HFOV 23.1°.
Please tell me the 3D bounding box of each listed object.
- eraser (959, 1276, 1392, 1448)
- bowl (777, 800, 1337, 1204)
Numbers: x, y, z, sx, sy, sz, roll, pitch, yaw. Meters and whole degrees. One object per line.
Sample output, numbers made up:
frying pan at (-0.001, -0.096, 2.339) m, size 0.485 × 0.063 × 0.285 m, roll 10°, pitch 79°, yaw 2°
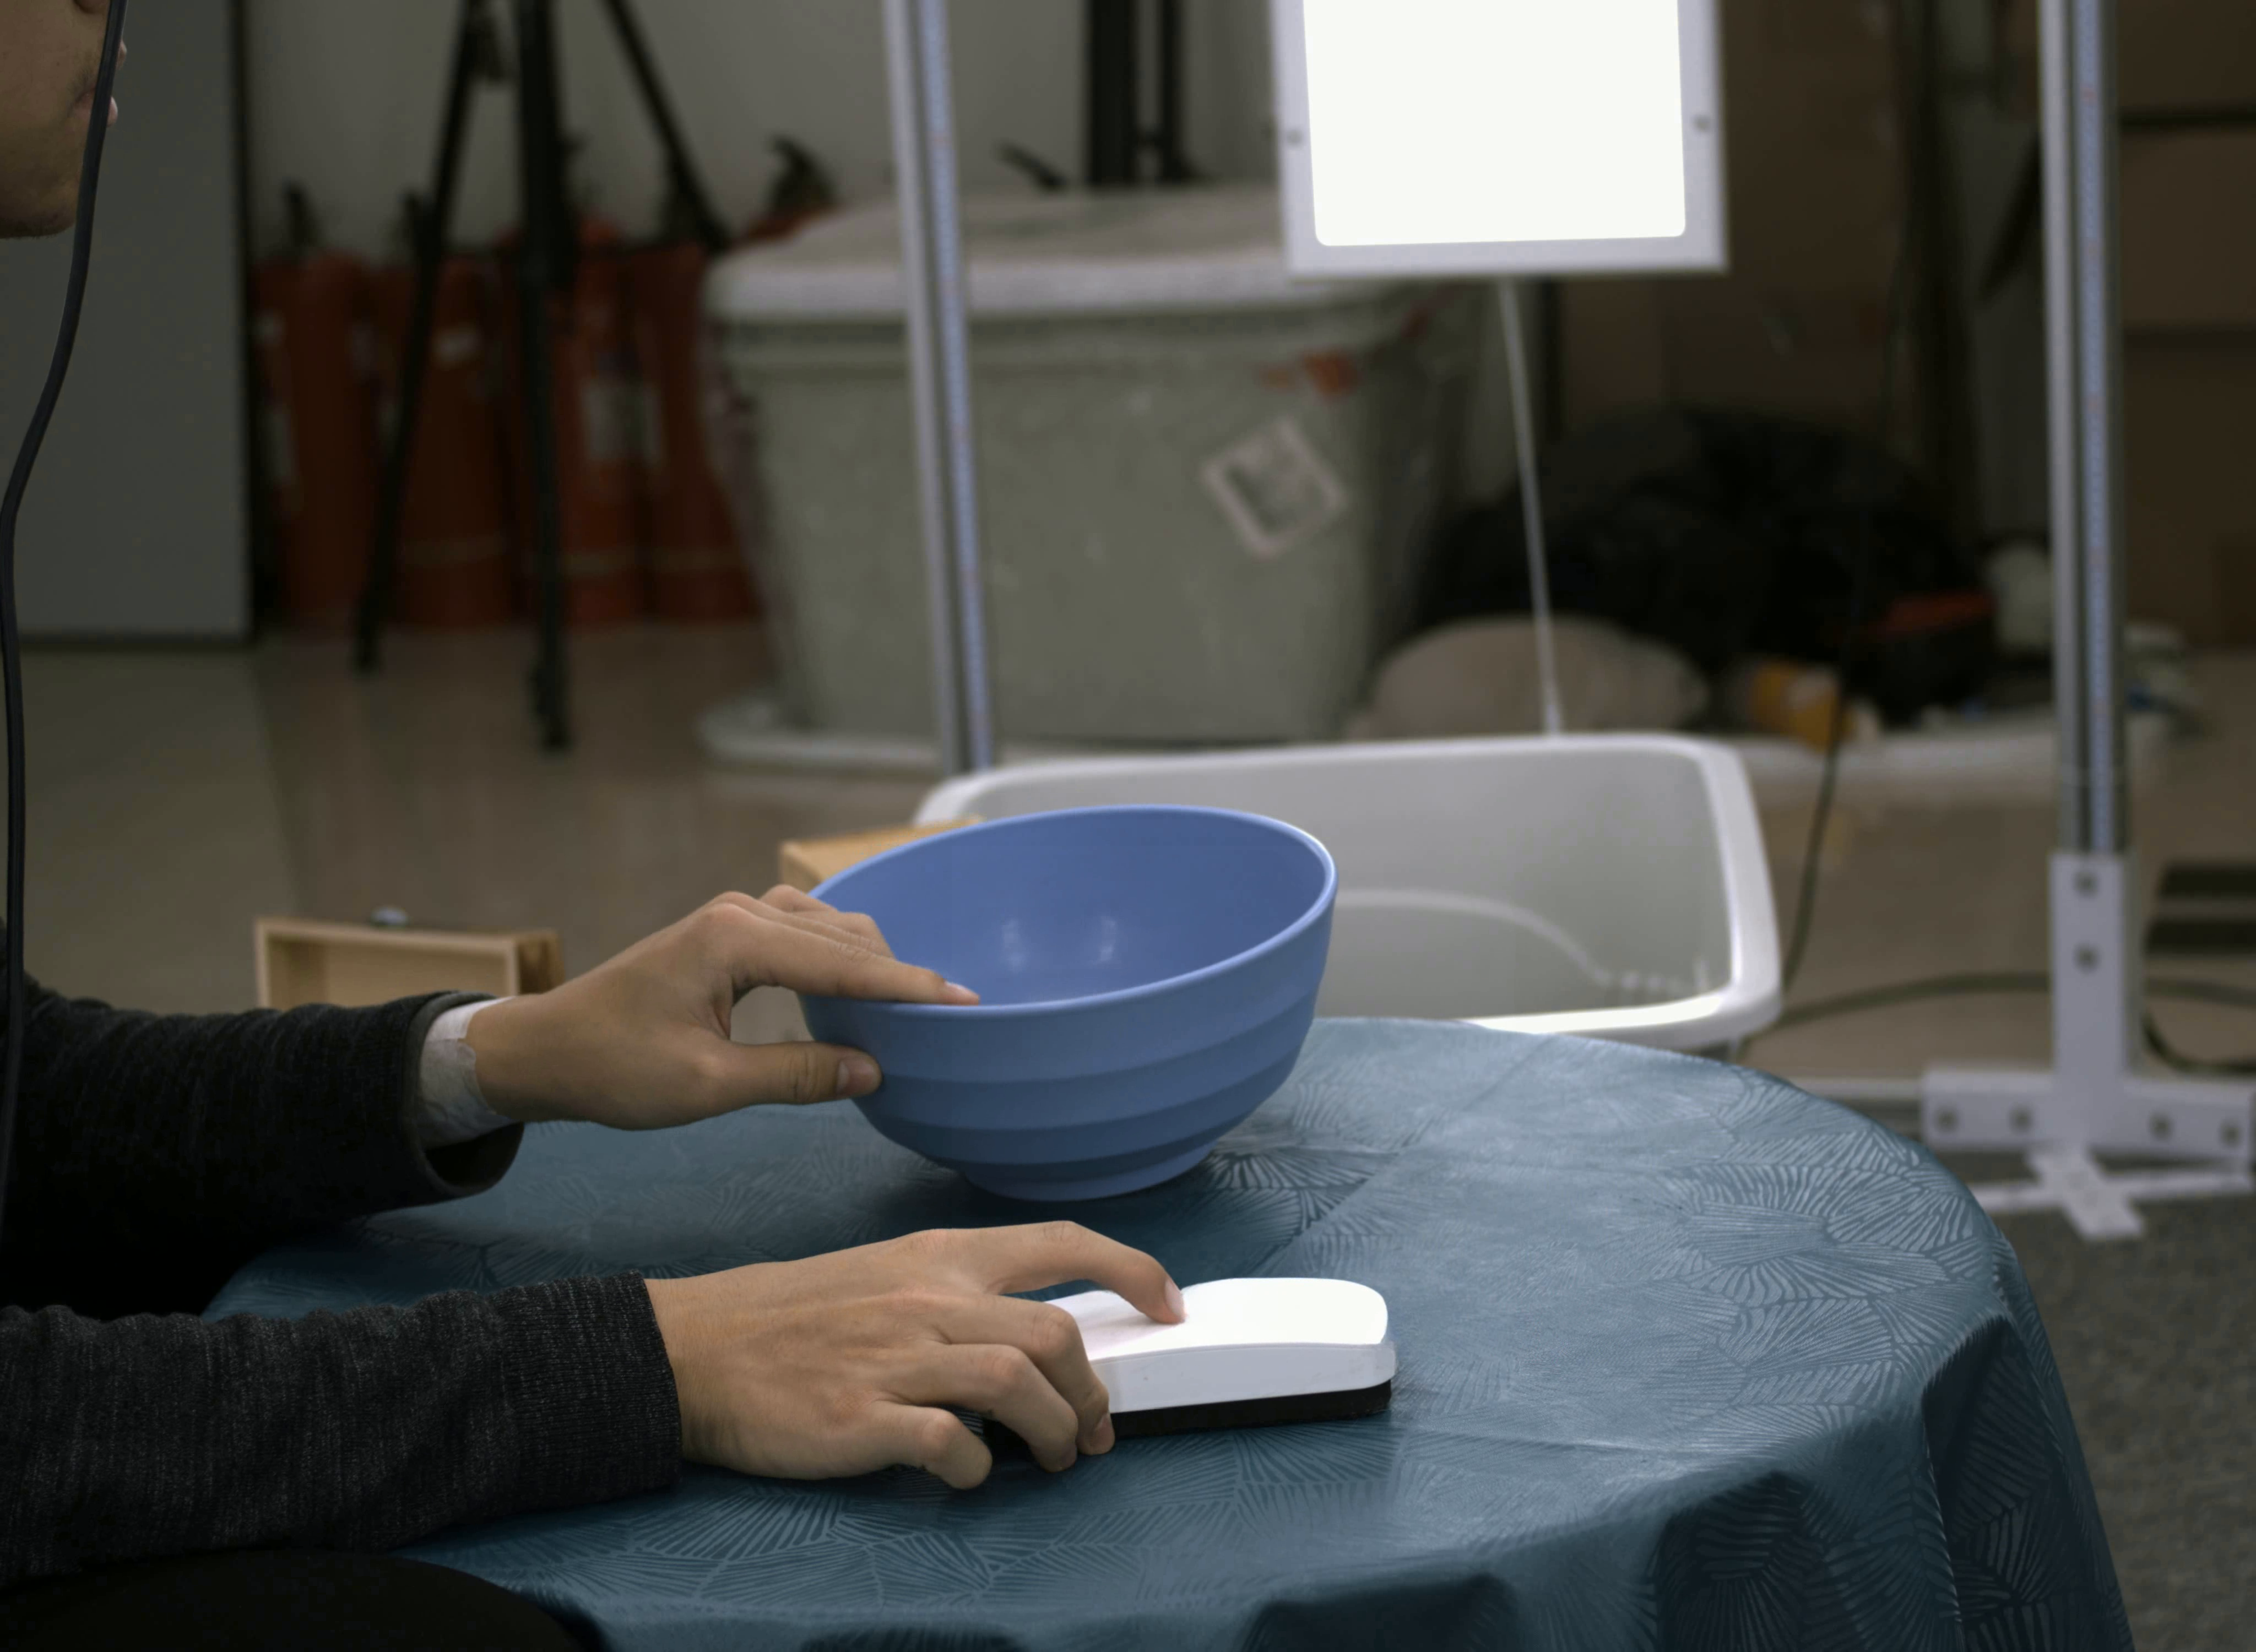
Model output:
eraser at (0.015, 0.162, 1.682) m, size 0.131 × 0.034 × 0.063 m, roll -4°, pitch 13°, yaw -1°
bowl at (-0.019, 0.070, 1.917) m, size 0.196 × 0.096 × 0.196 m, roll -8°, pitch 20°, yaw 1°
